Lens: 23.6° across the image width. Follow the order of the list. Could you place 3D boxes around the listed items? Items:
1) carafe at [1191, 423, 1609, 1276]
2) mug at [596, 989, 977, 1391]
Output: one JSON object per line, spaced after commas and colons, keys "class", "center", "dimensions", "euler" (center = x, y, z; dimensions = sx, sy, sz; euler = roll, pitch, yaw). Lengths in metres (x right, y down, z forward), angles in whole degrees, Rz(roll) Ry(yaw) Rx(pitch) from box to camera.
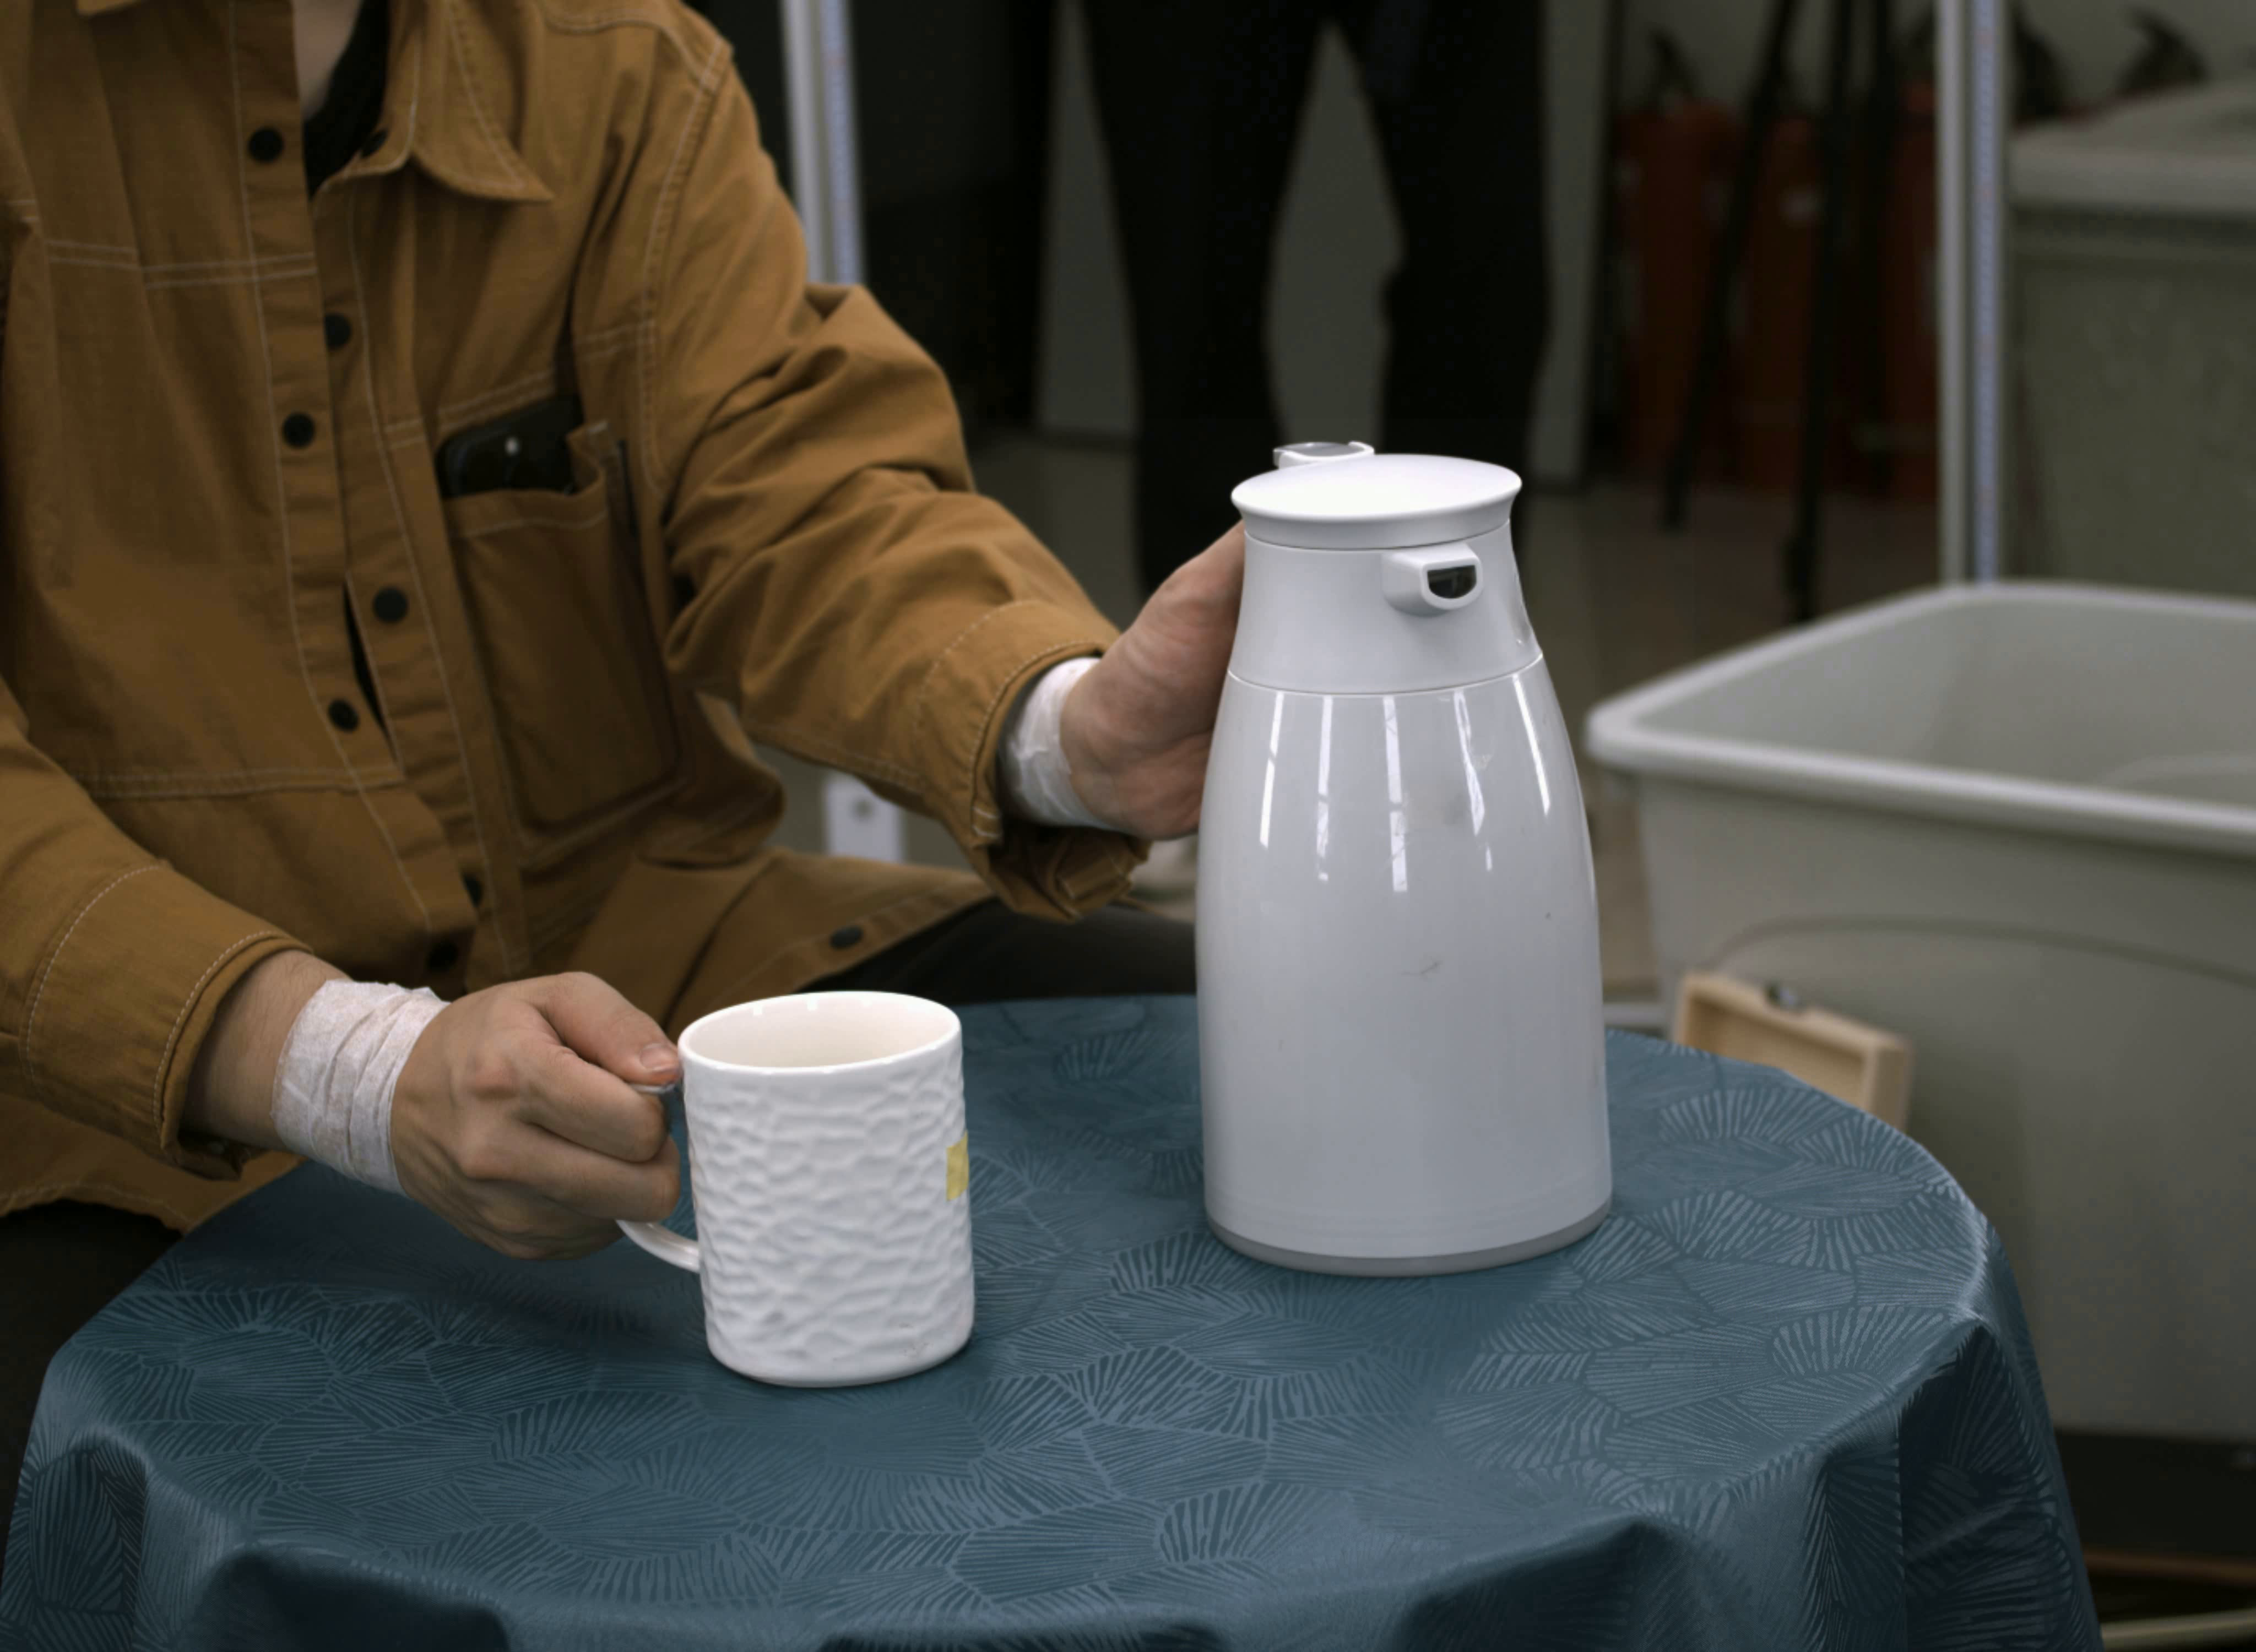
{"class": "carafe", "center": [0.074, -0.001, 1.722], "dimensions": [0.130, 0.251, 0.169], "euler": [-9, 14, -18]}
{"class": "mug", "center": [-0.105, 0.110, 1.639], "dimensions": [0.118, 0.103, 0.084], "euler": [0, 14, 20]}
